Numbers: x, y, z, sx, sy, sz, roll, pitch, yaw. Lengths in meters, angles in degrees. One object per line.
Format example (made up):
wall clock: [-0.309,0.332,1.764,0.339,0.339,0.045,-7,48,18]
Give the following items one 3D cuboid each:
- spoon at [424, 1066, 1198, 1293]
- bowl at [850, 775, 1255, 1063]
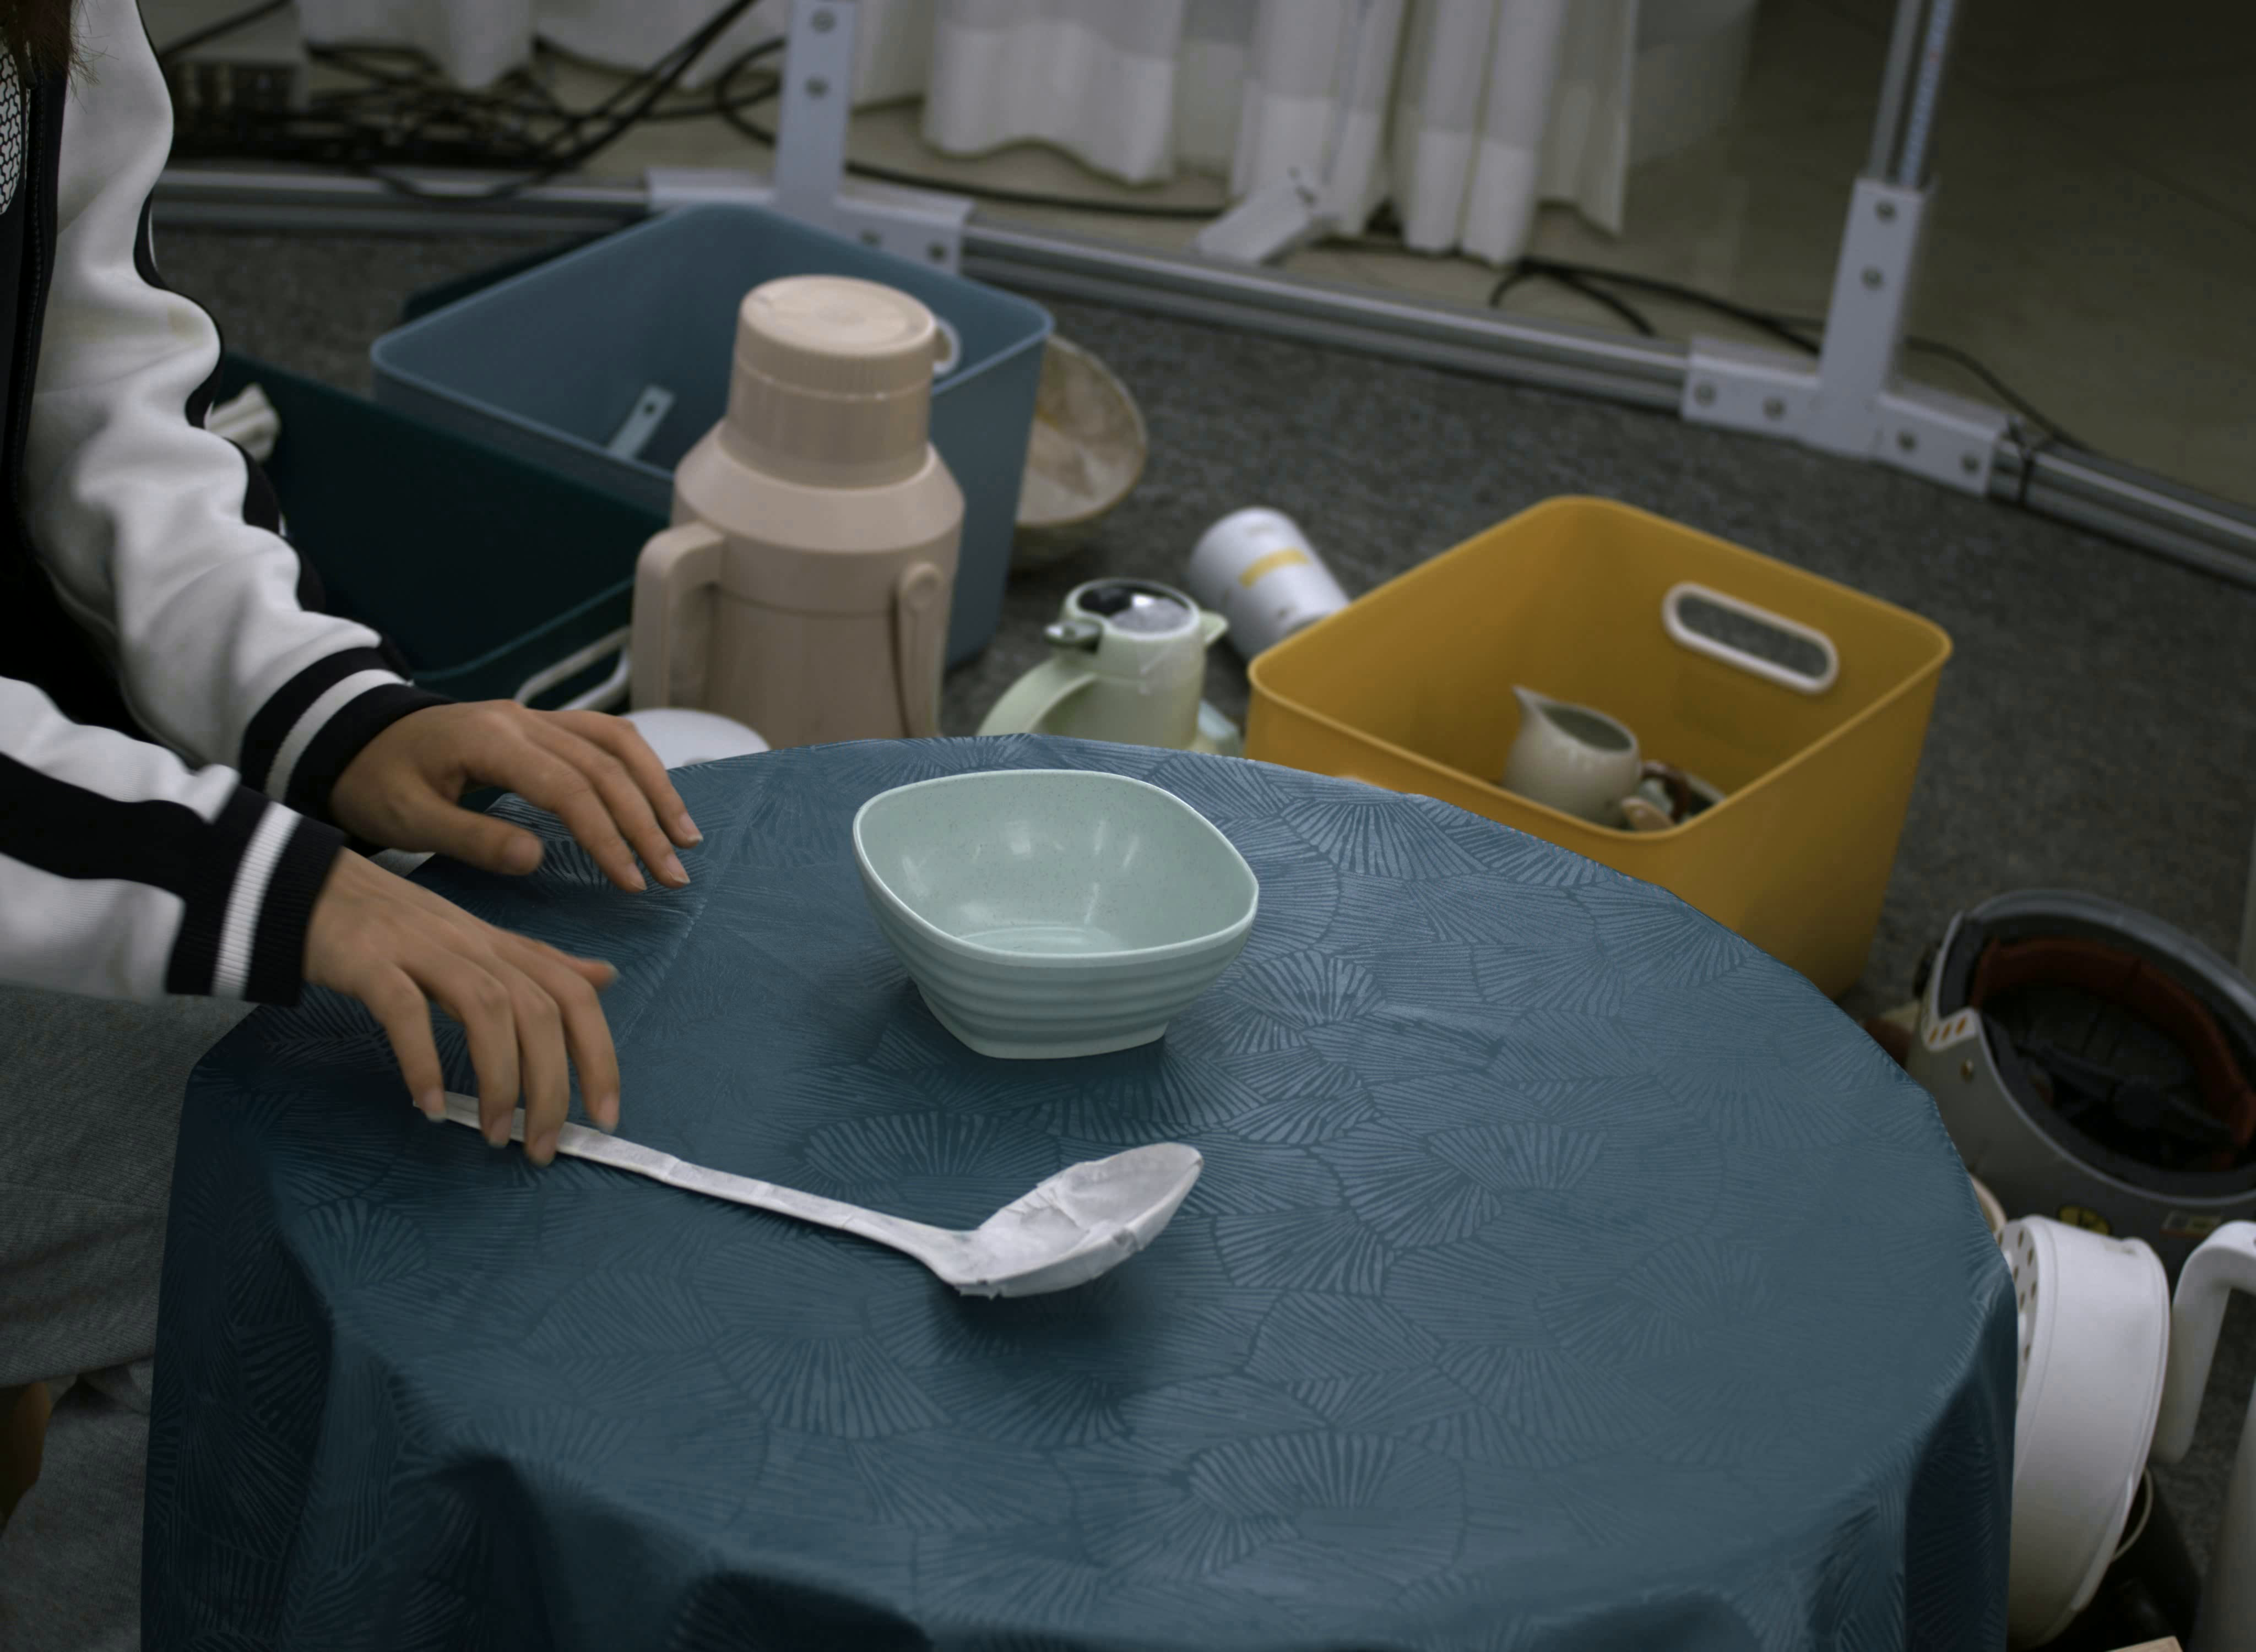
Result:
spoon: [-0.109,0.098,1.765,0.278,0.059,0.100,17,23,20]
bowl: [-0.030,0.039,1.903,0.151,0.058,0.152,5,27,-3]
